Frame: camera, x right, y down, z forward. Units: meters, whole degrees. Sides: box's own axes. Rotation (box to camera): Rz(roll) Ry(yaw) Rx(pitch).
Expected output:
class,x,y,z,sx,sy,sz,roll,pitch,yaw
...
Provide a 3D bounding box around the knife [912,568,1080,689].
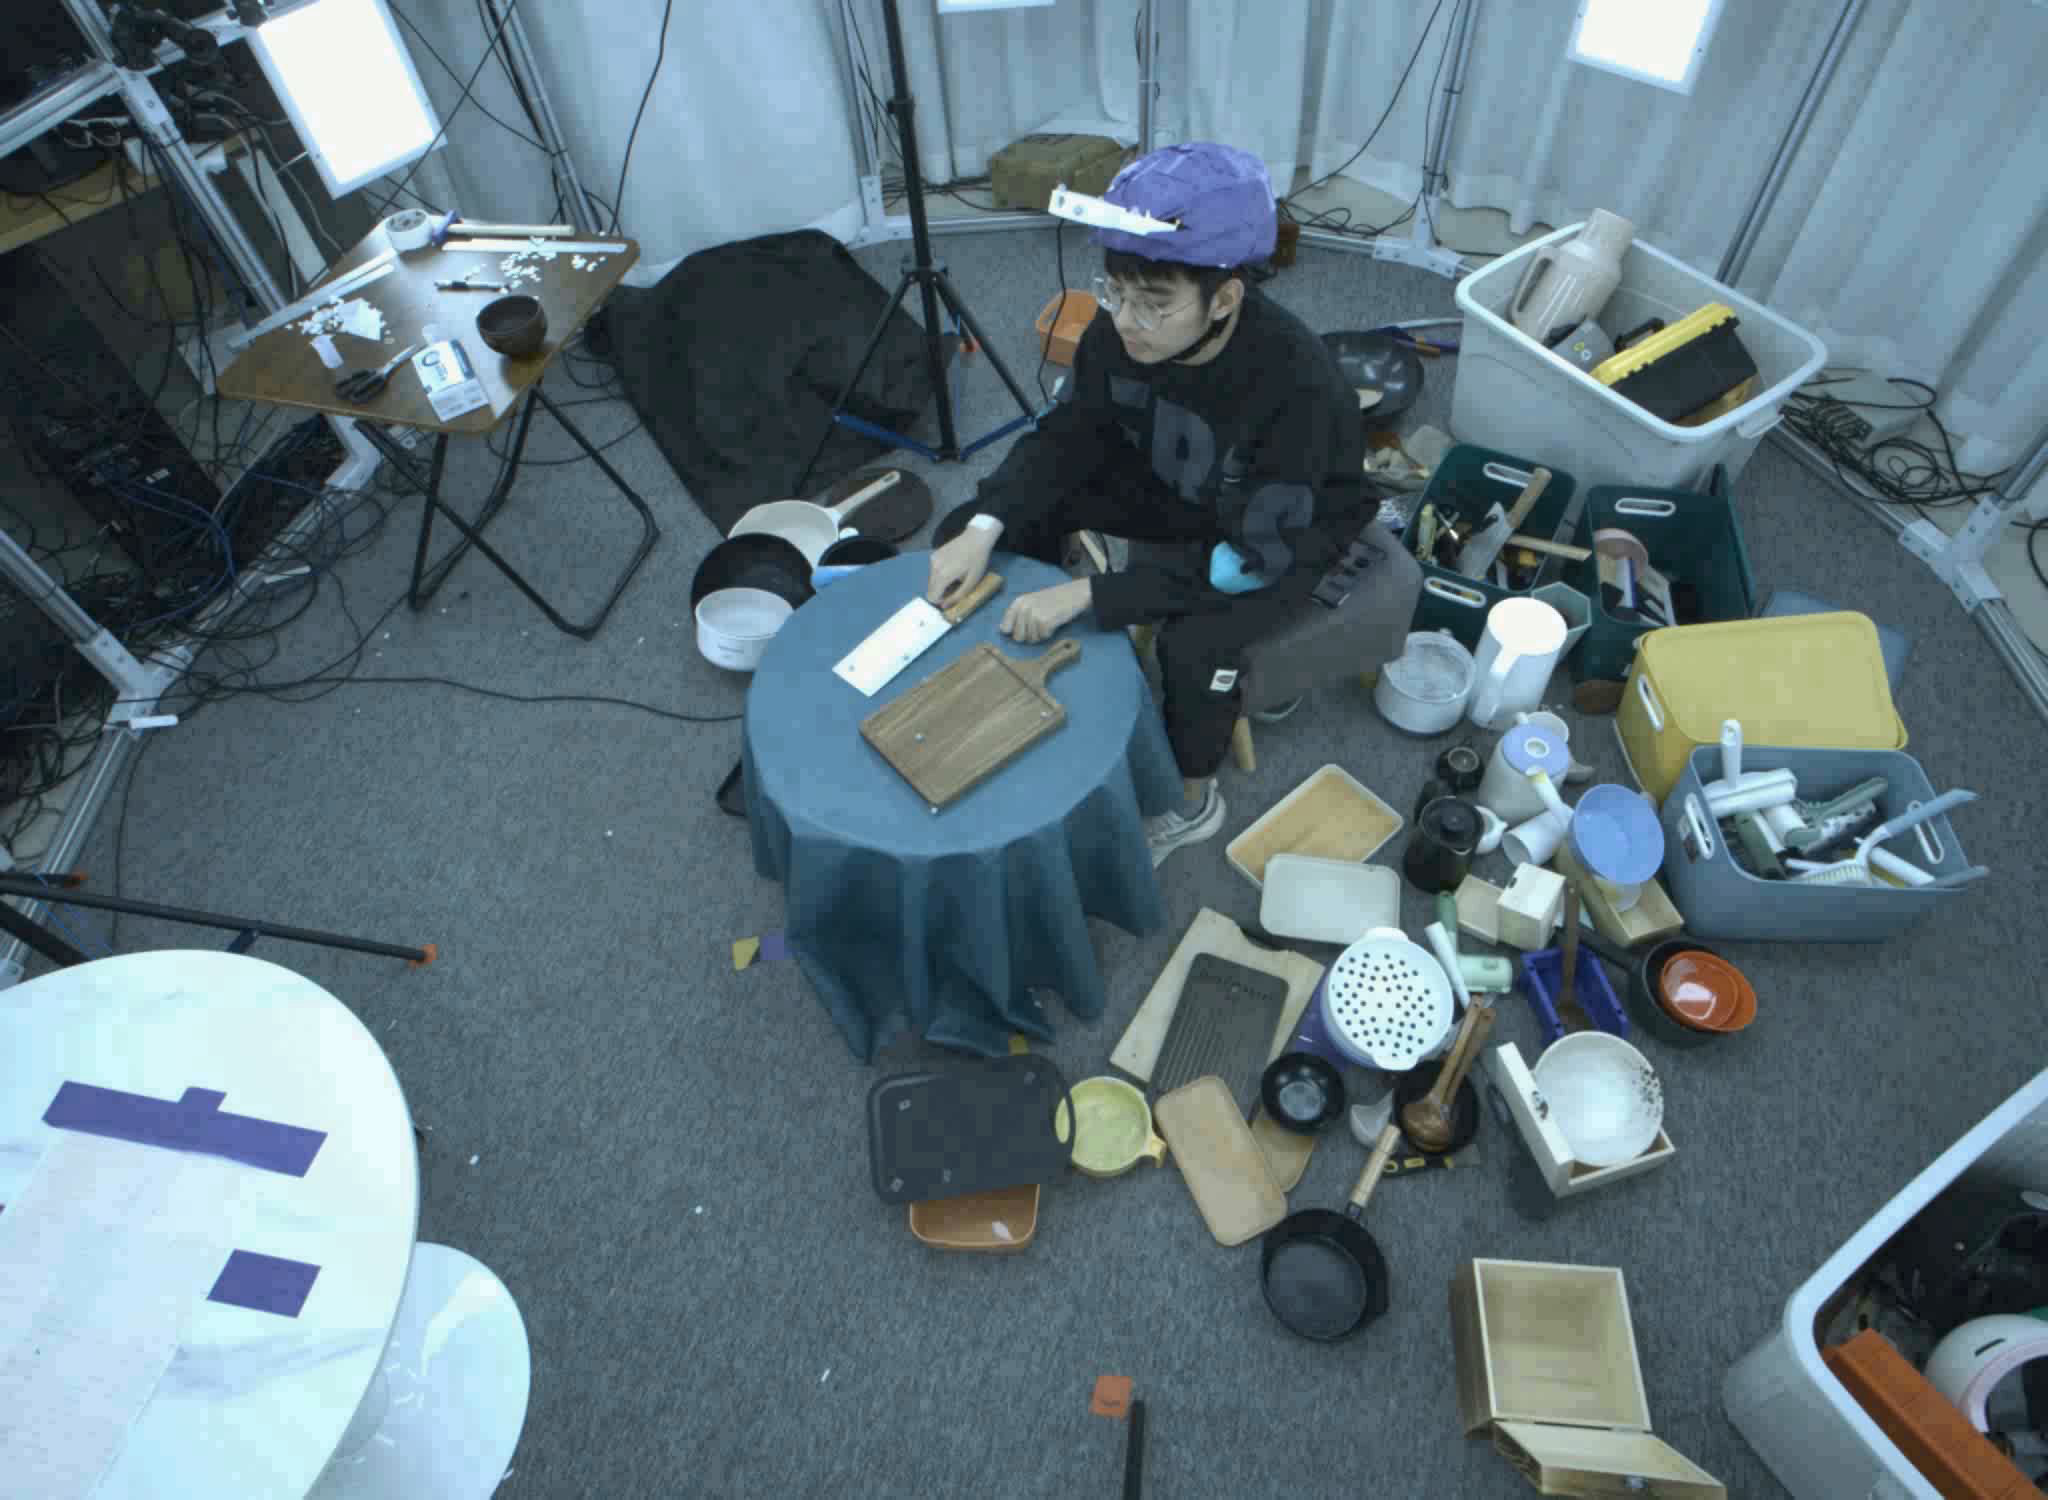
class,x,y,z,sx,sy,sz,roll,pitch,yaw
knife,-0.047,-0.205,1.924,0.307,0.021,0.091,-39,61,-20

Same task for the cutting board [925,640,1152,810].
class,x,y,z,sx,sy,sz,roll,pitch,yaw
cutting board,0.049,-0.067,1.820,0.355,0.023,0.197,-32,60,-19
